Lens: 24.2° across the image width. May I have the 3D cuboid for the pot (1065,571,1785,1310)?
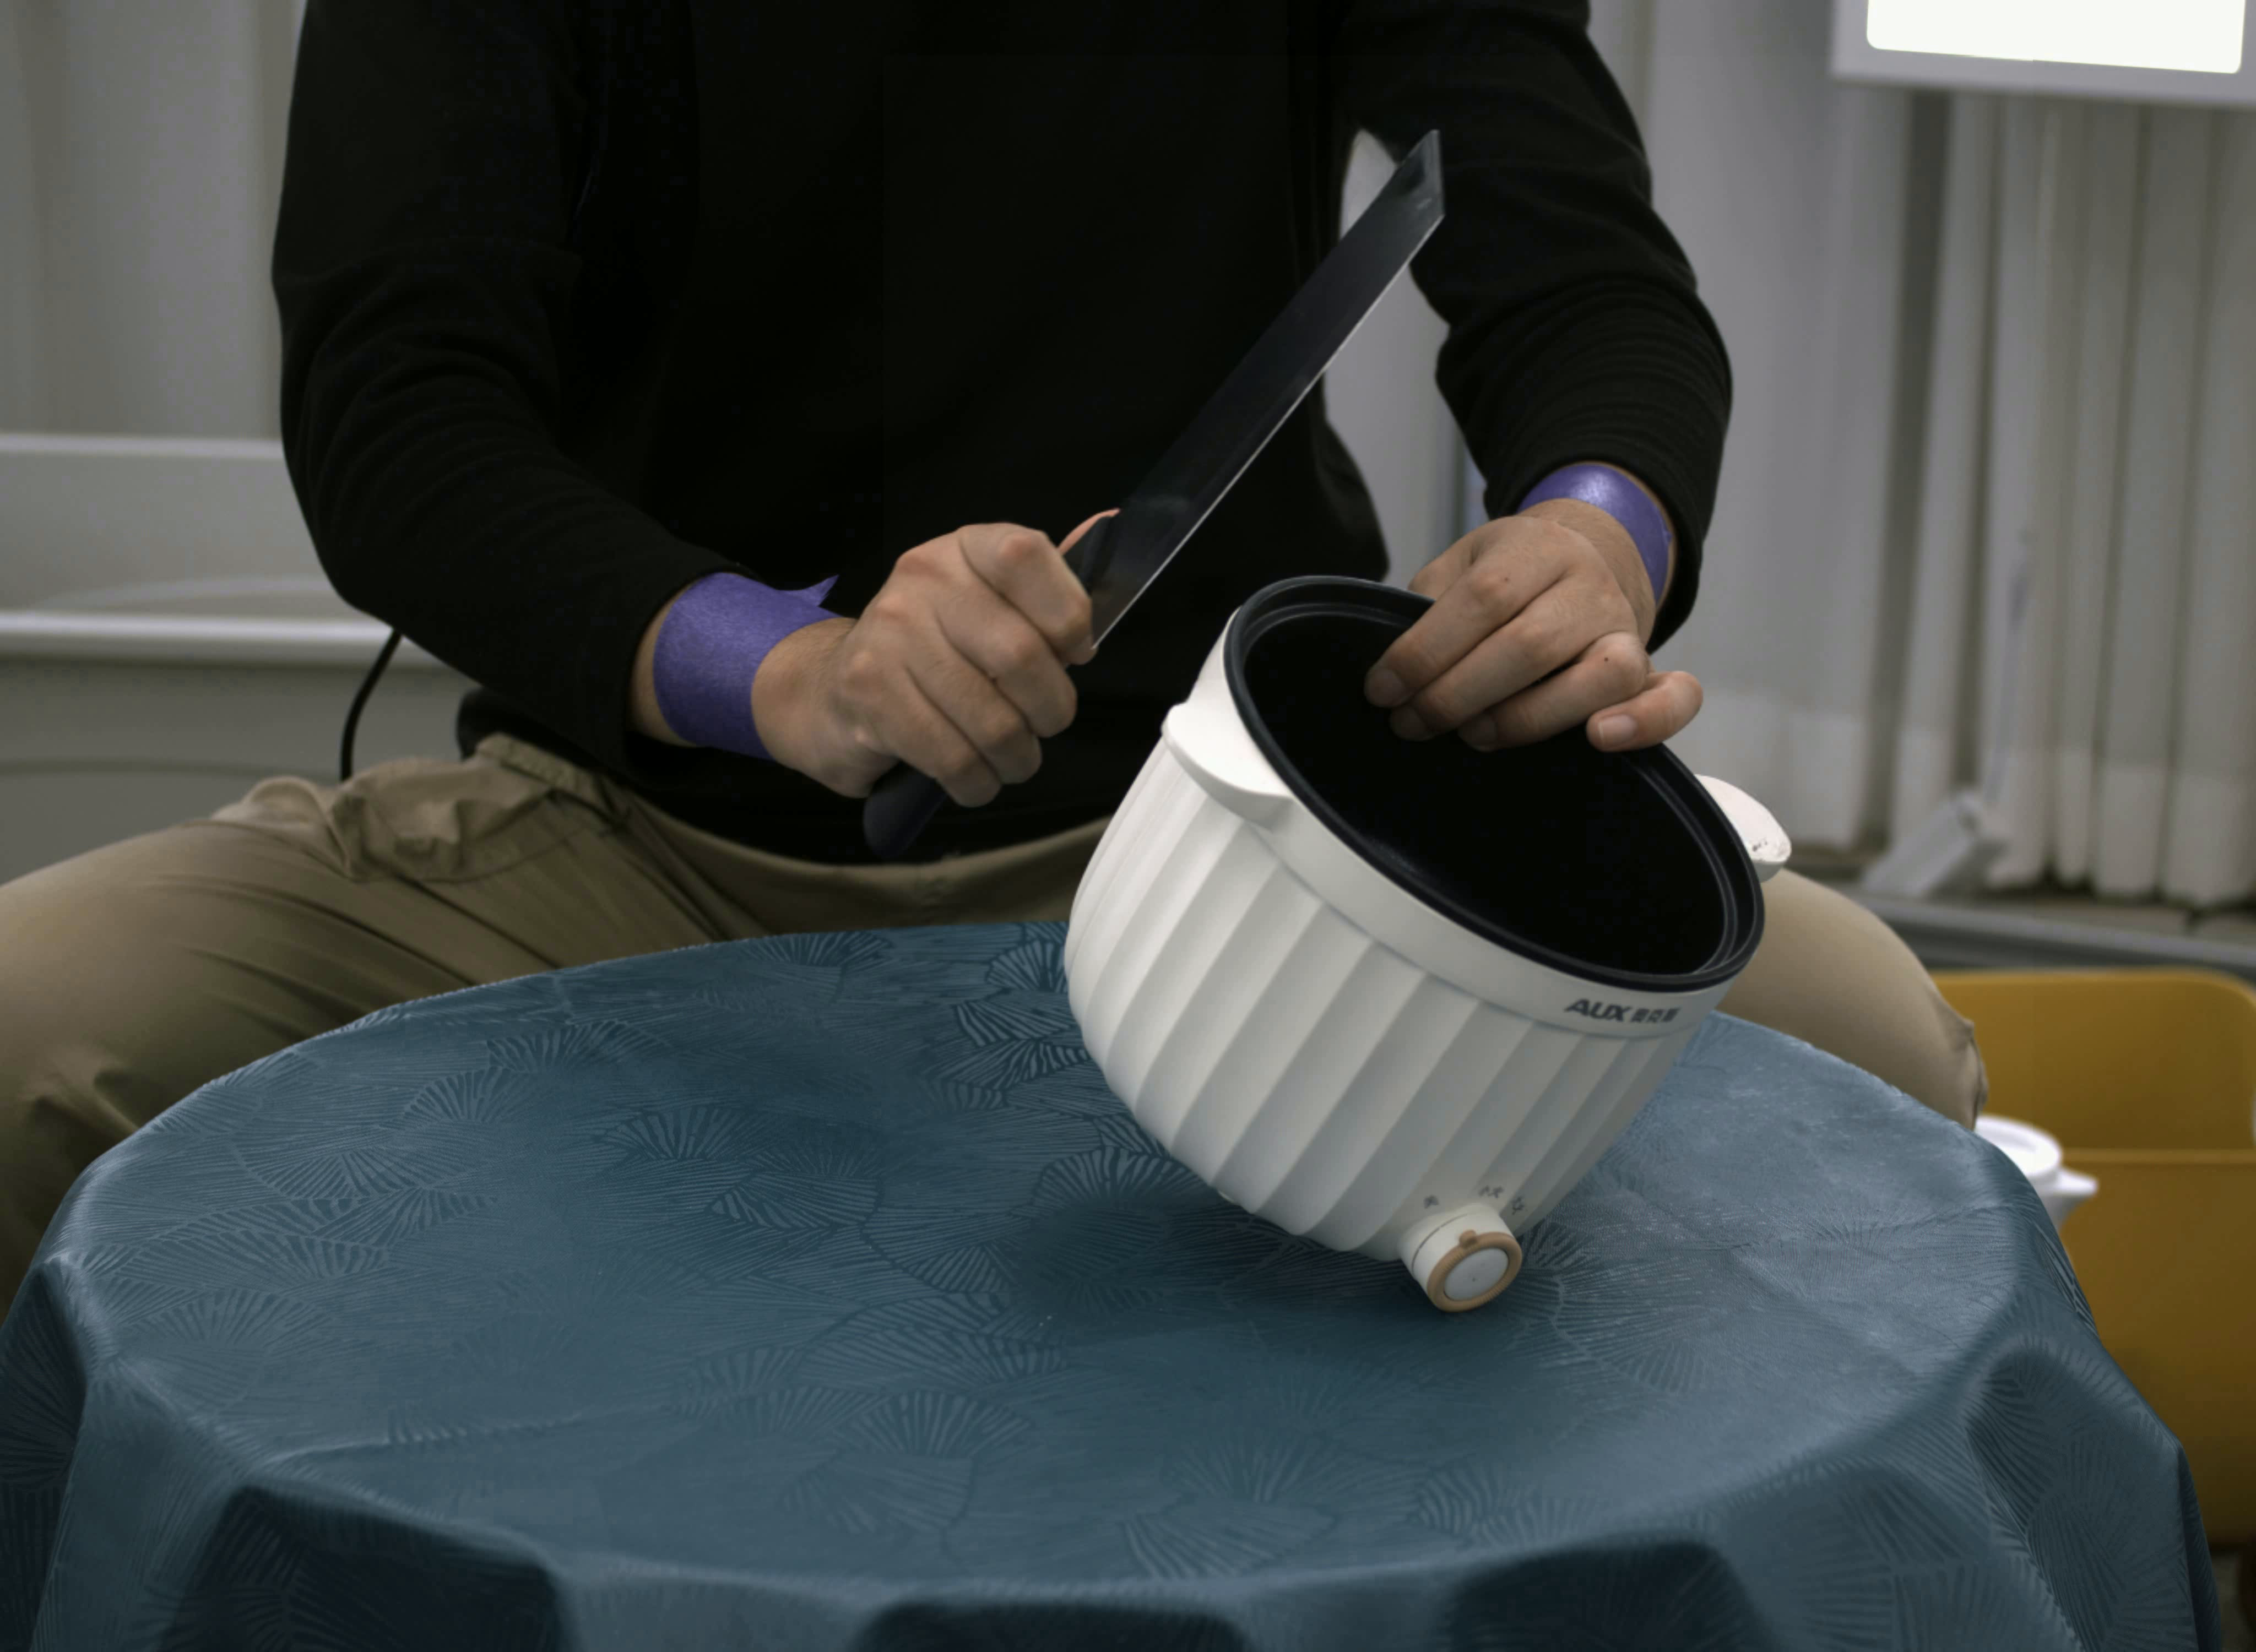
[{"bbox_3d":[0.080,0.037,1.557,0.242,0.143,0.188,6,35,-39],"label":"pot"}]

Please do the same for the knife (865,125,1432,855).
[{"bbox_3d":[0.005,-0.096,1.630,0.021,0.303,0.080,31,34,-17],"label":"knife"}]
